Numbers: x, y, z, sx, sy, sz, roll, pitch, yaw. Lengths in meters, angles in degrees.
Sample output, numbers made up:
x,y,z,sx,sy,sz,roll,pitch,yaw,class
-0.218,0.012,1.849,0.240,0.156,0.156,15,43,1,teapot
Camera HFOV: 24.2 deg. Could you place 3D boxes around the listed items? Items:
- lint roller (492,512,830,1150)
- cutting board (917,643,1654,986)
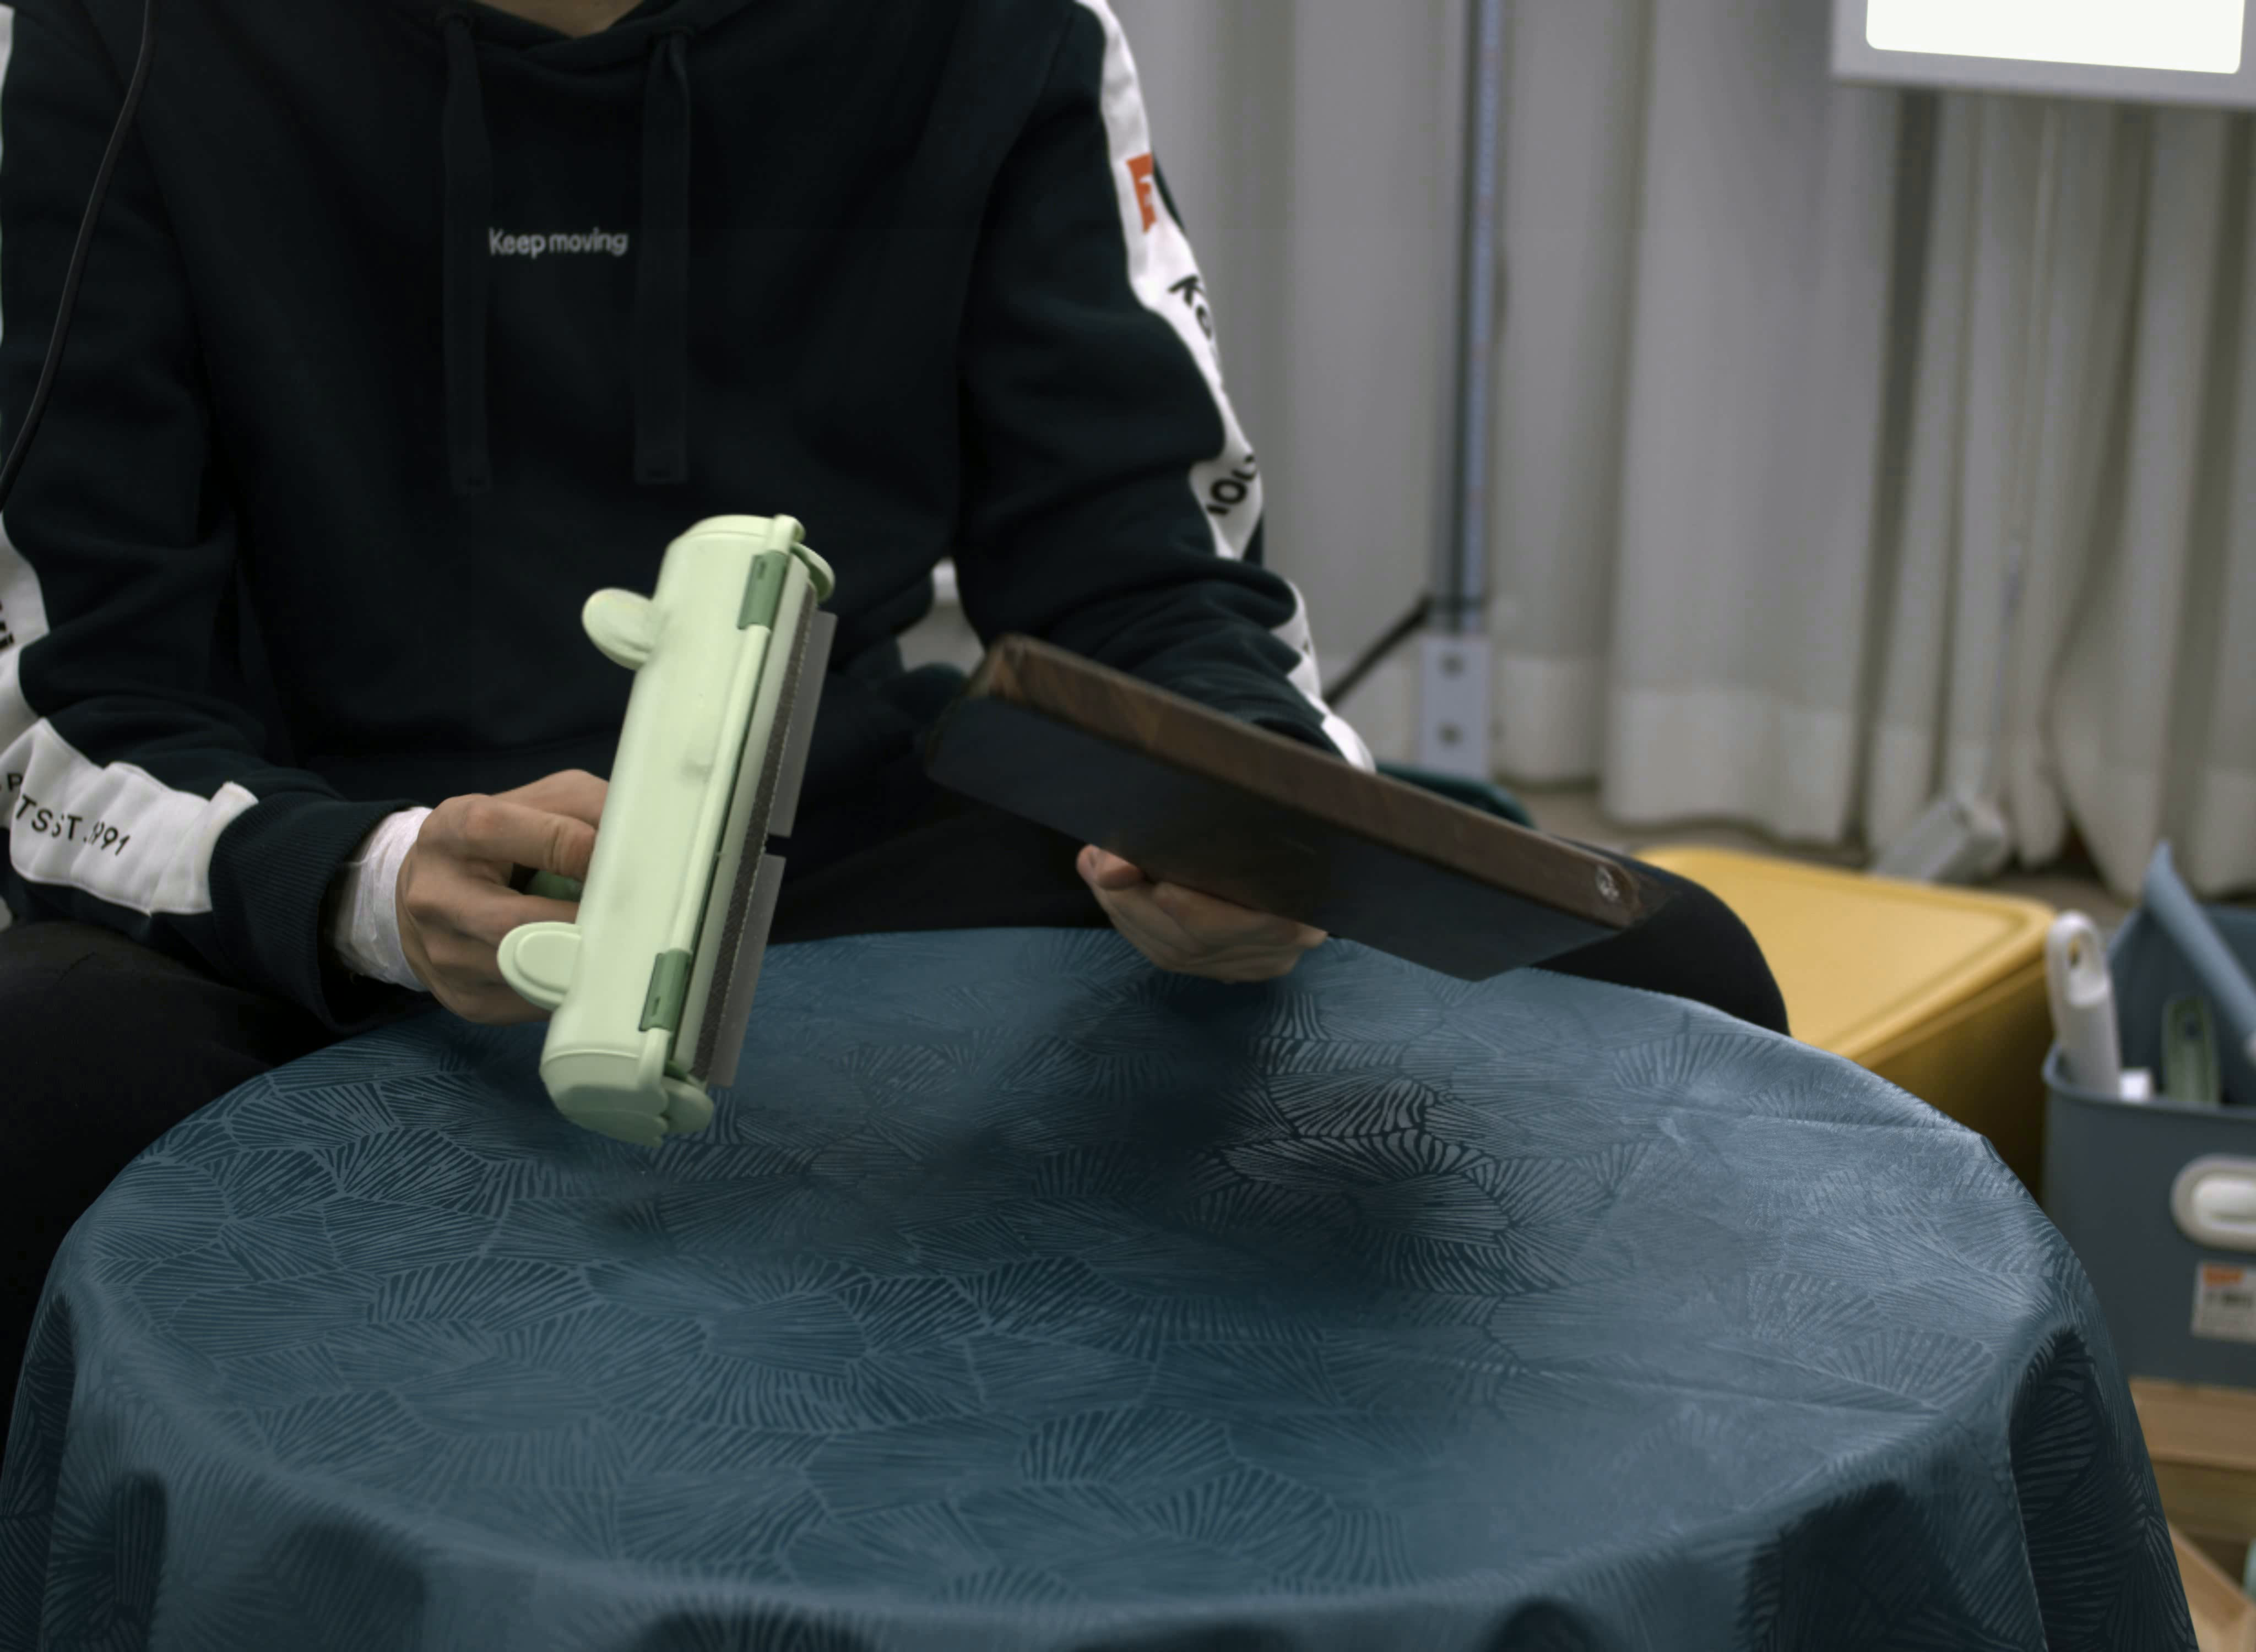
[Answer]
x,y,z,sx,sy,sz,roll,pitch,yaw,class
-0.173,0.009,1.650,0.083,0.198,0.182,26,-27,-30,lint roller
0.035,0.005,1.640,0.201,0.023,0.352,20,-7,-5,cutting board
